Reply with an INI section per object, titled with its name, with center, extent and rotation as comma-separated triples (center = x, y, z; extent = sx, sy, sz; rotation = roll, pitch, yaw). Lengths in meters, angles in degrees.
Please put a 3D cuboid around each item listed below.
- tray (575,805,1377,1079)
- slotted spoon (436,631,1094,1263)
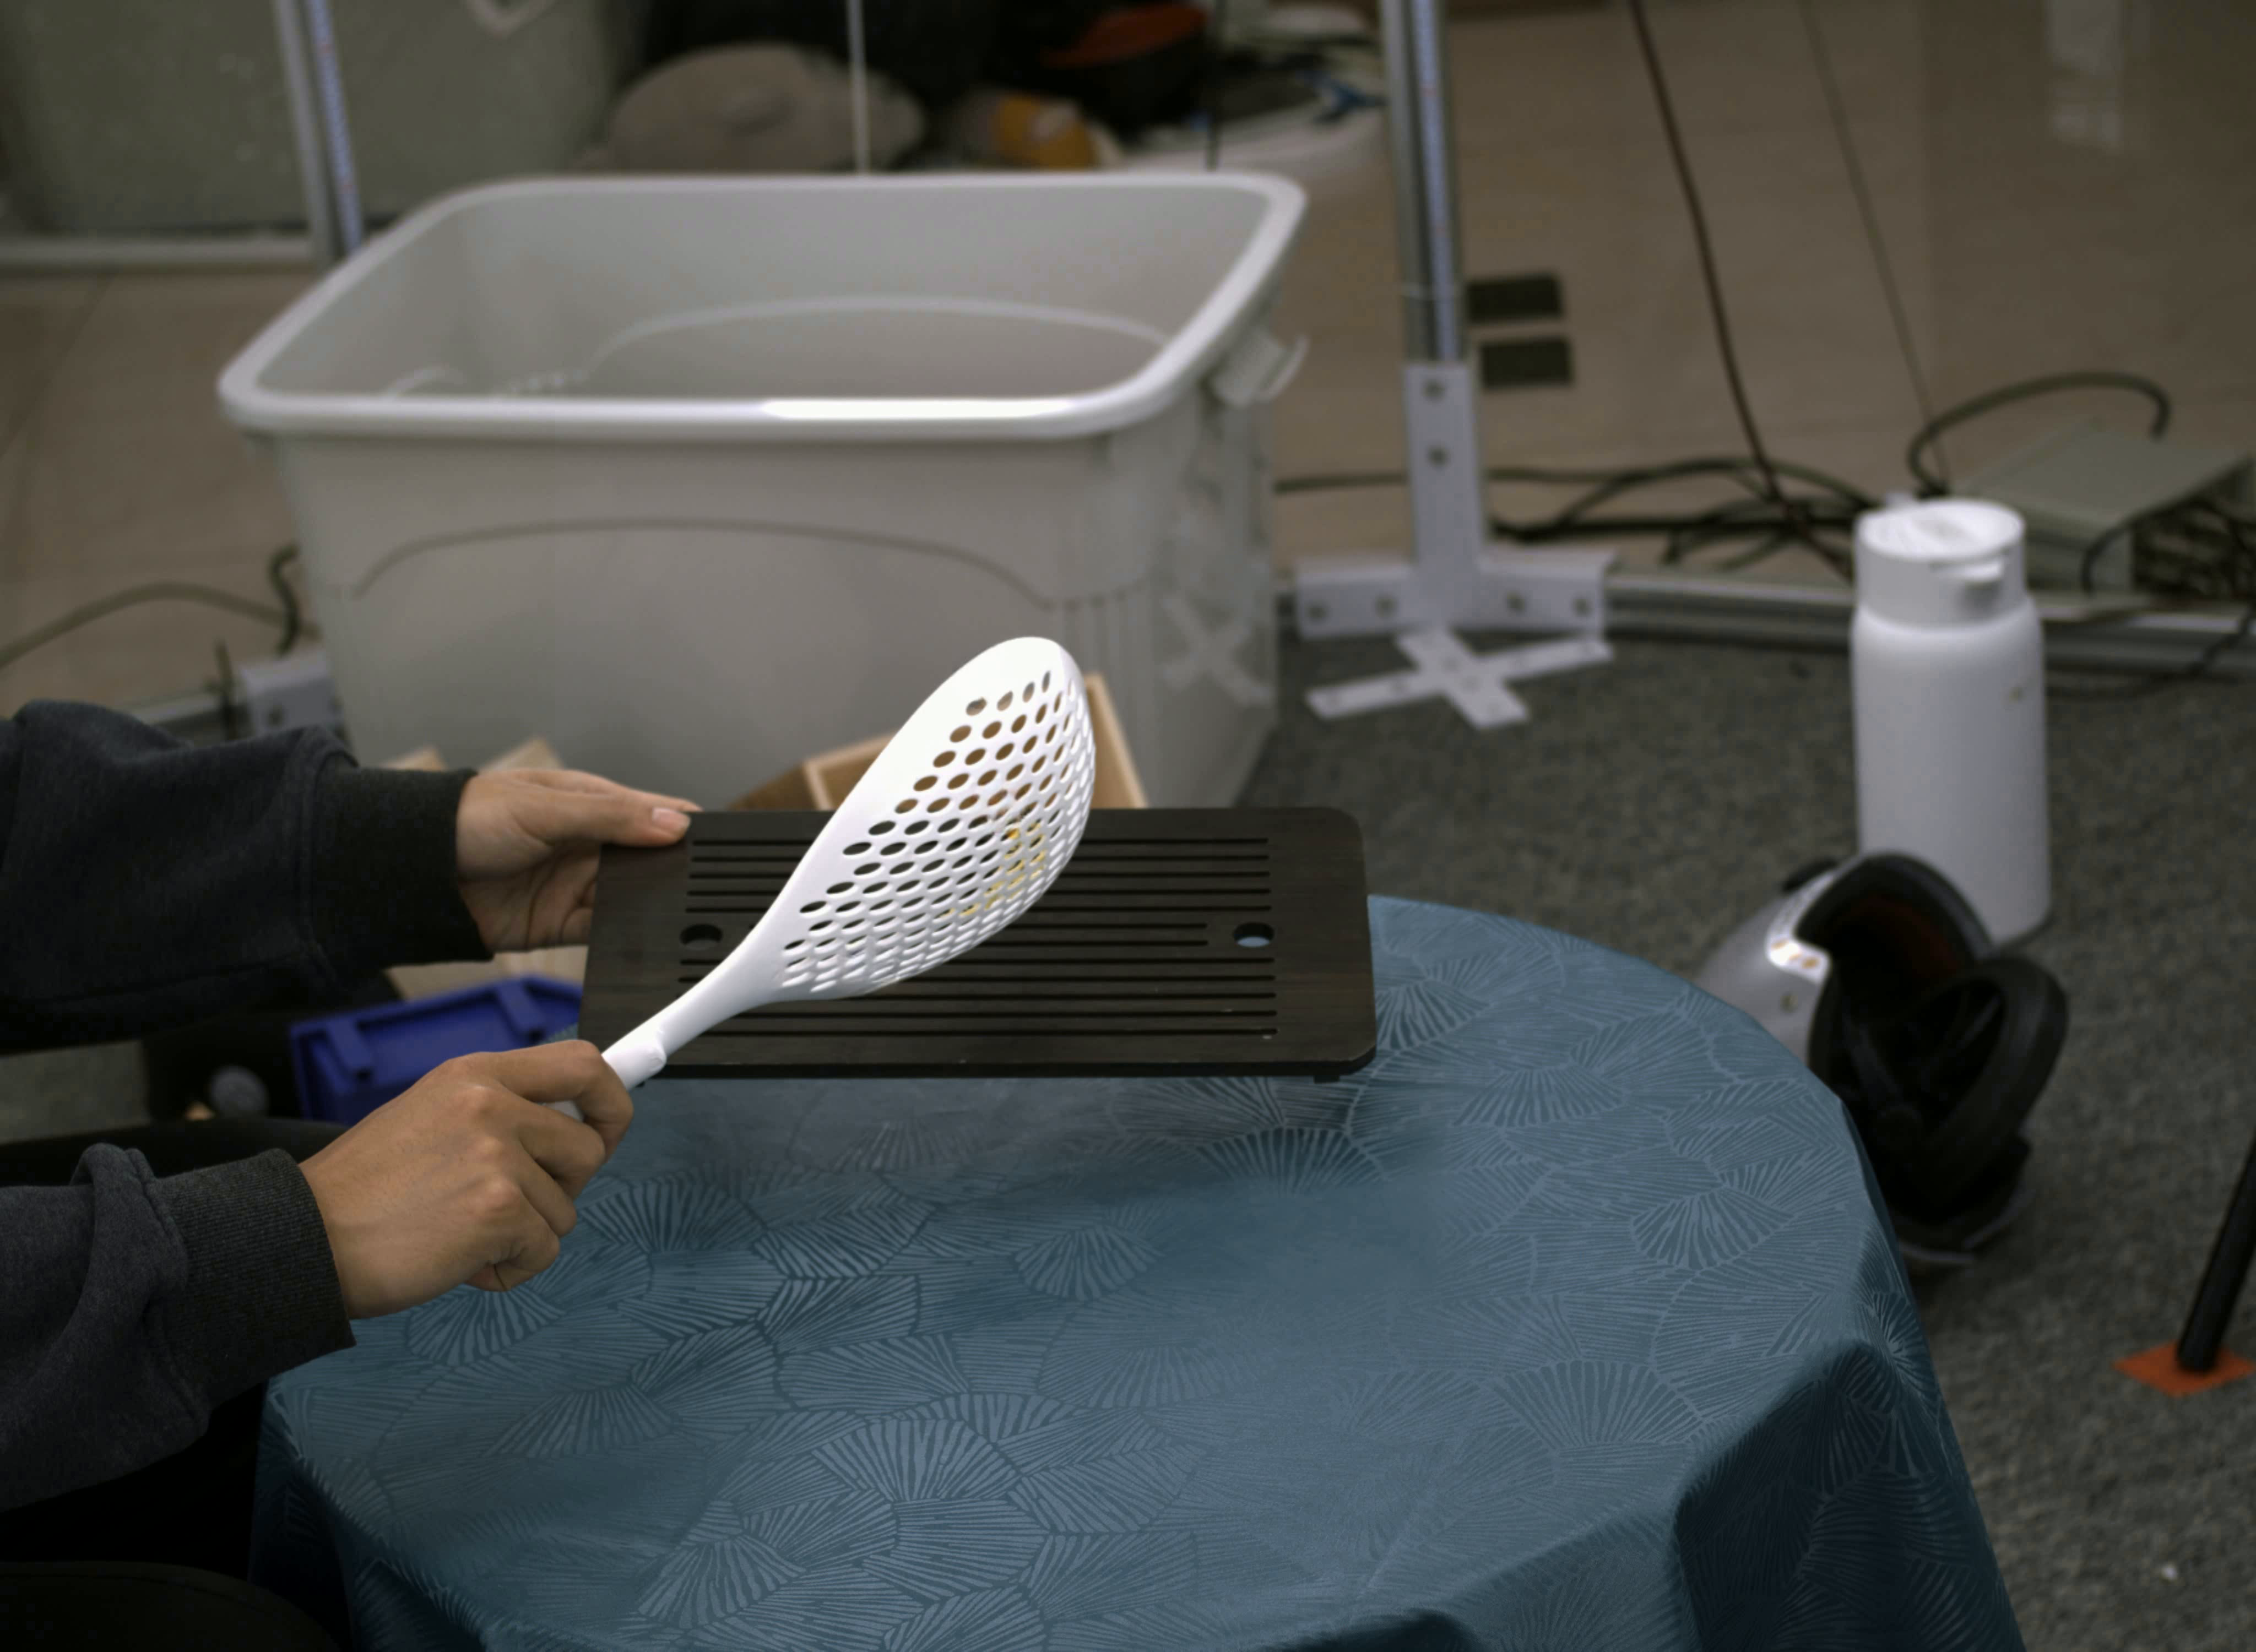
[tray]
center = -0.058, 0.046, 2.209
extent = 0.305, 0.019, 0.167
rotation = 0, 35, 0
[slotted spoon]
center = -0.126, 0.054, 2.036
extent = 0.345, 0.139, 0.050
rotation = -34, 56, -28
